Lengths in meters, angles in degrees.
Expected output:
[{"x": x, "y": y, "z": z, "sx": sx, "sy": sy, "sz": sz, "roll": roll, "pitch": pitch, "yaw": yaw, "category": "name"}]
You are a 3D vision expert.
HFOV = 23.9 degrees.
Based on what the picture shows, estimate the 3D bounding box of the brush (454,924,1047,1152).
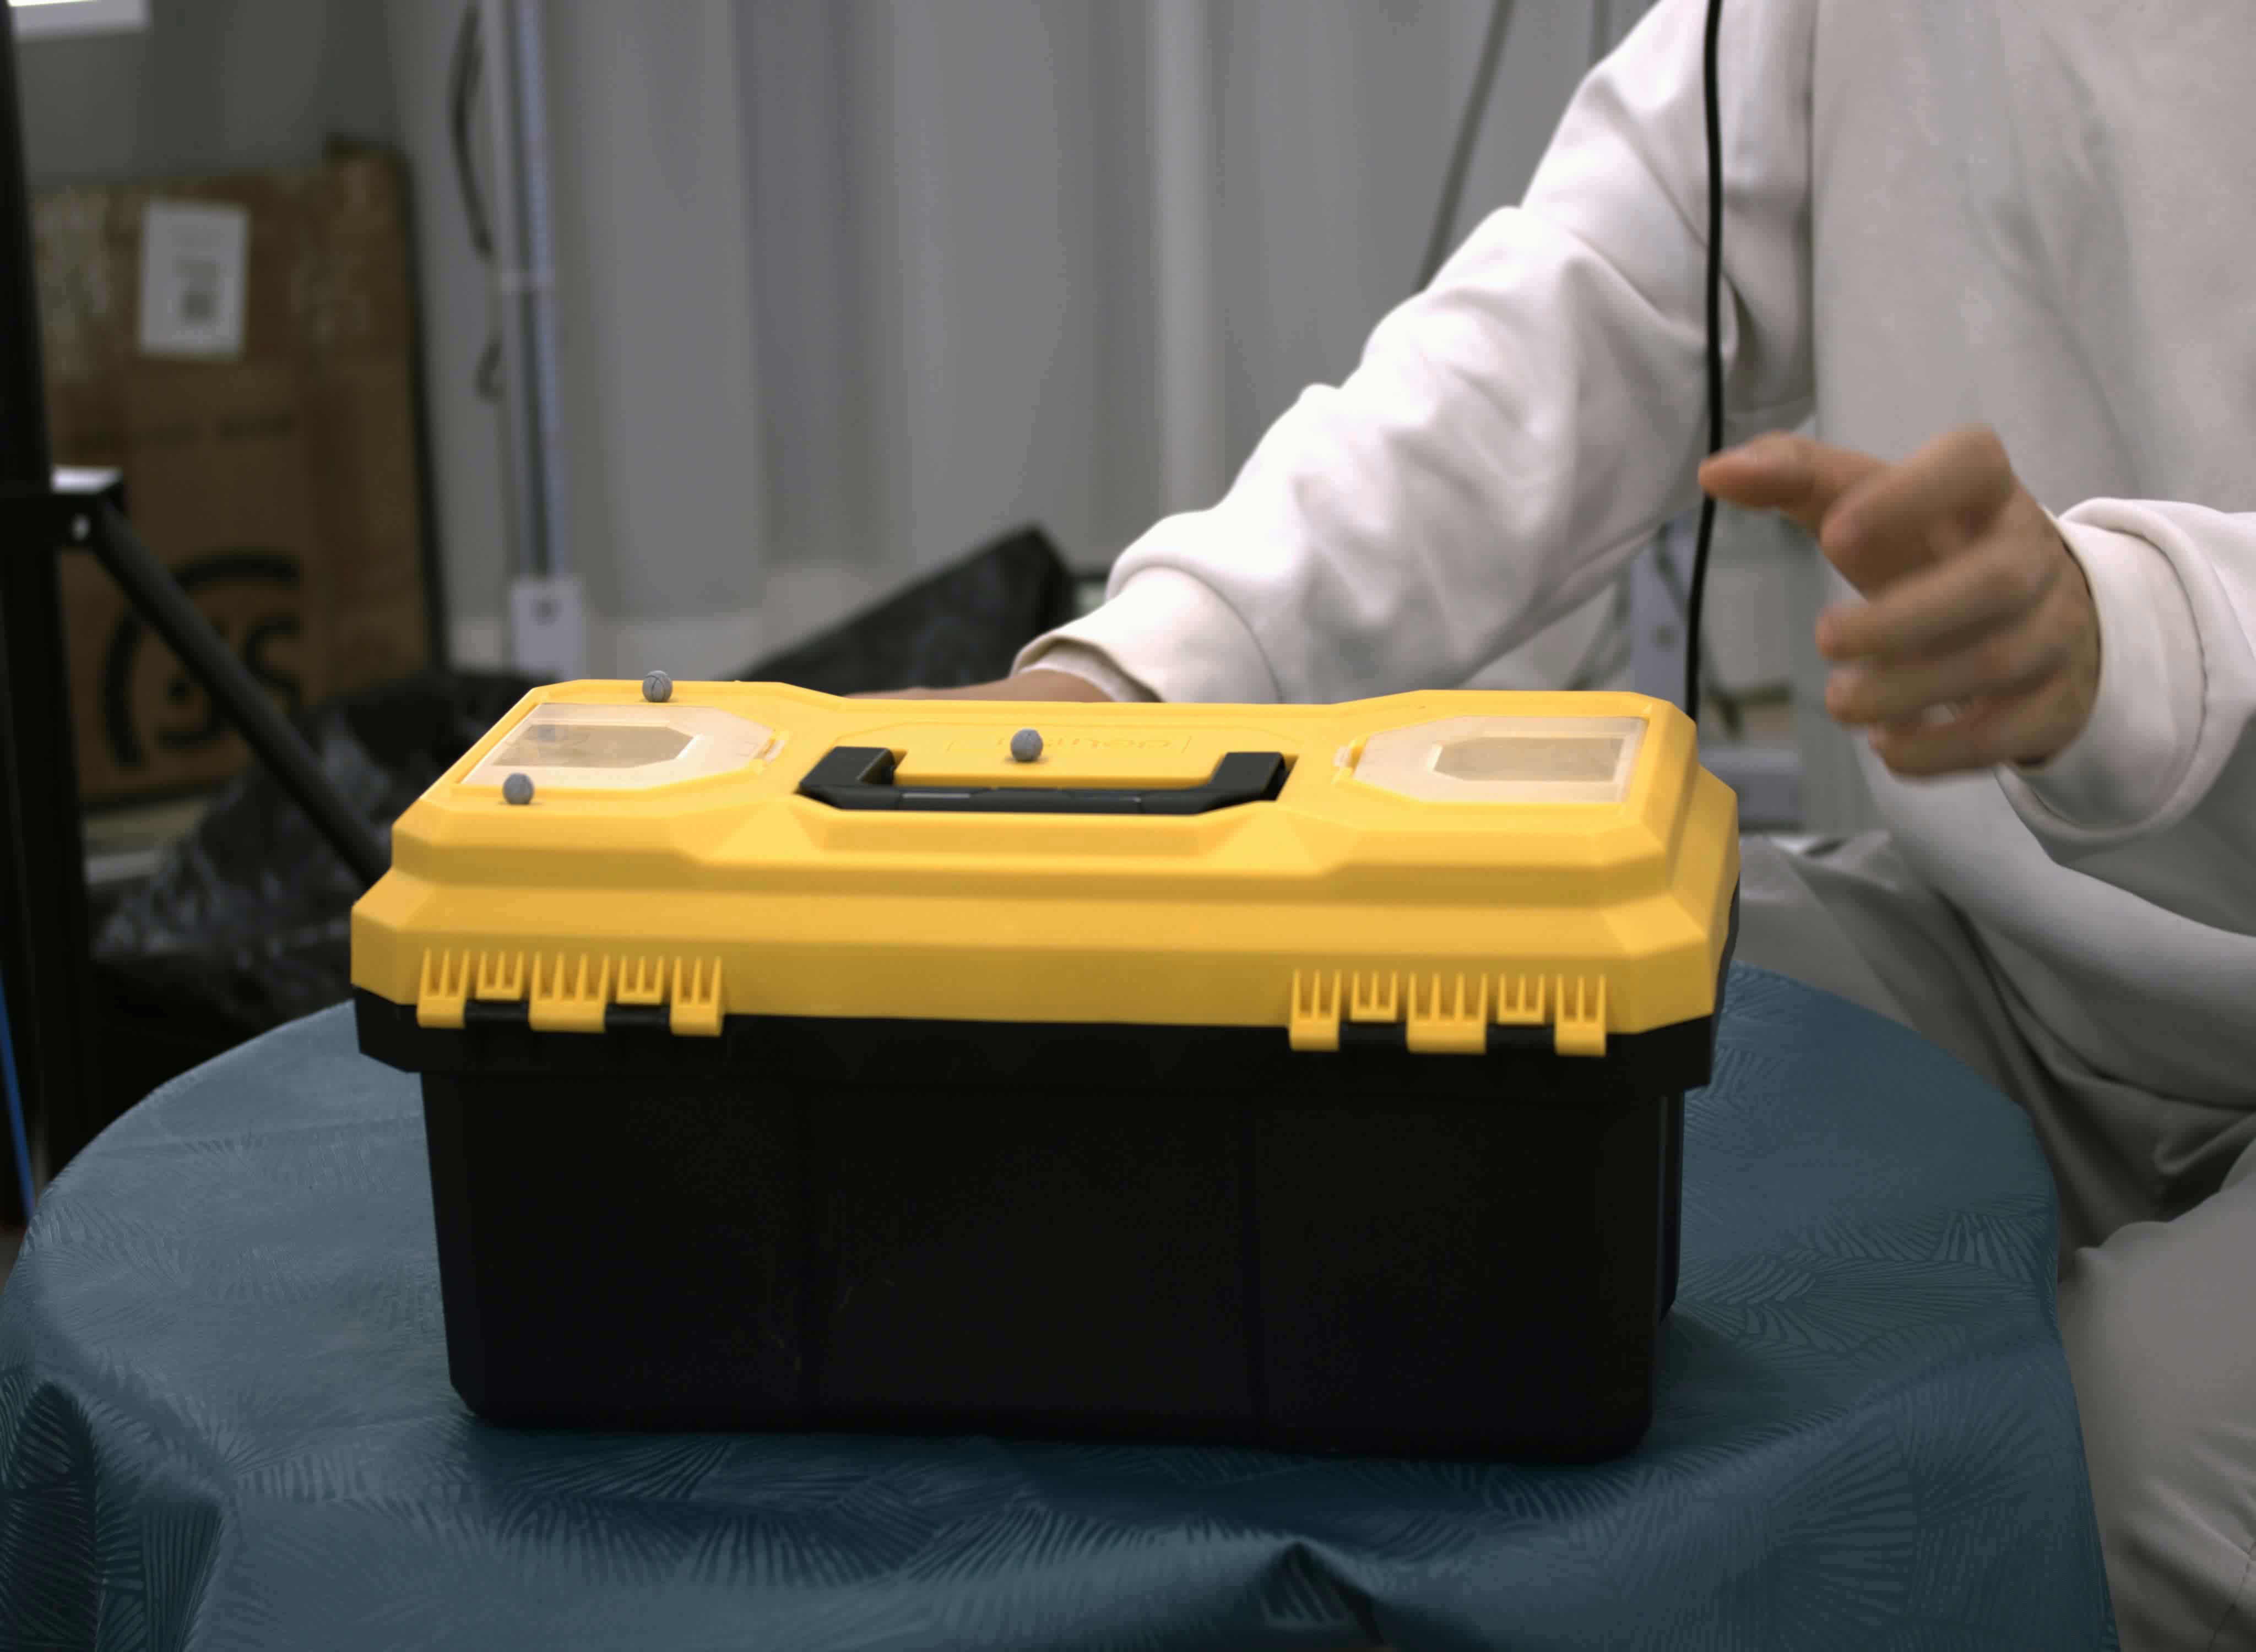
[{"x": -0.114, "y": 0.065, "z": 1.708, "sx": 0.070, "sy": 0.056, "sz": 0.260, "roll": 34, "pitch": 17, "yaw": 30, "category": "brush"}]

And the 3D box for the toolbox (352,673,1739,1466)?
[{"x": -0.016, "y": 0.061, "z": 1.411, "sx": 0.353, "sy": 0.173, "sz": 0.180, "roll": 1, "pitch": 16, "yaw": 11, "category": "toolbox"}]
